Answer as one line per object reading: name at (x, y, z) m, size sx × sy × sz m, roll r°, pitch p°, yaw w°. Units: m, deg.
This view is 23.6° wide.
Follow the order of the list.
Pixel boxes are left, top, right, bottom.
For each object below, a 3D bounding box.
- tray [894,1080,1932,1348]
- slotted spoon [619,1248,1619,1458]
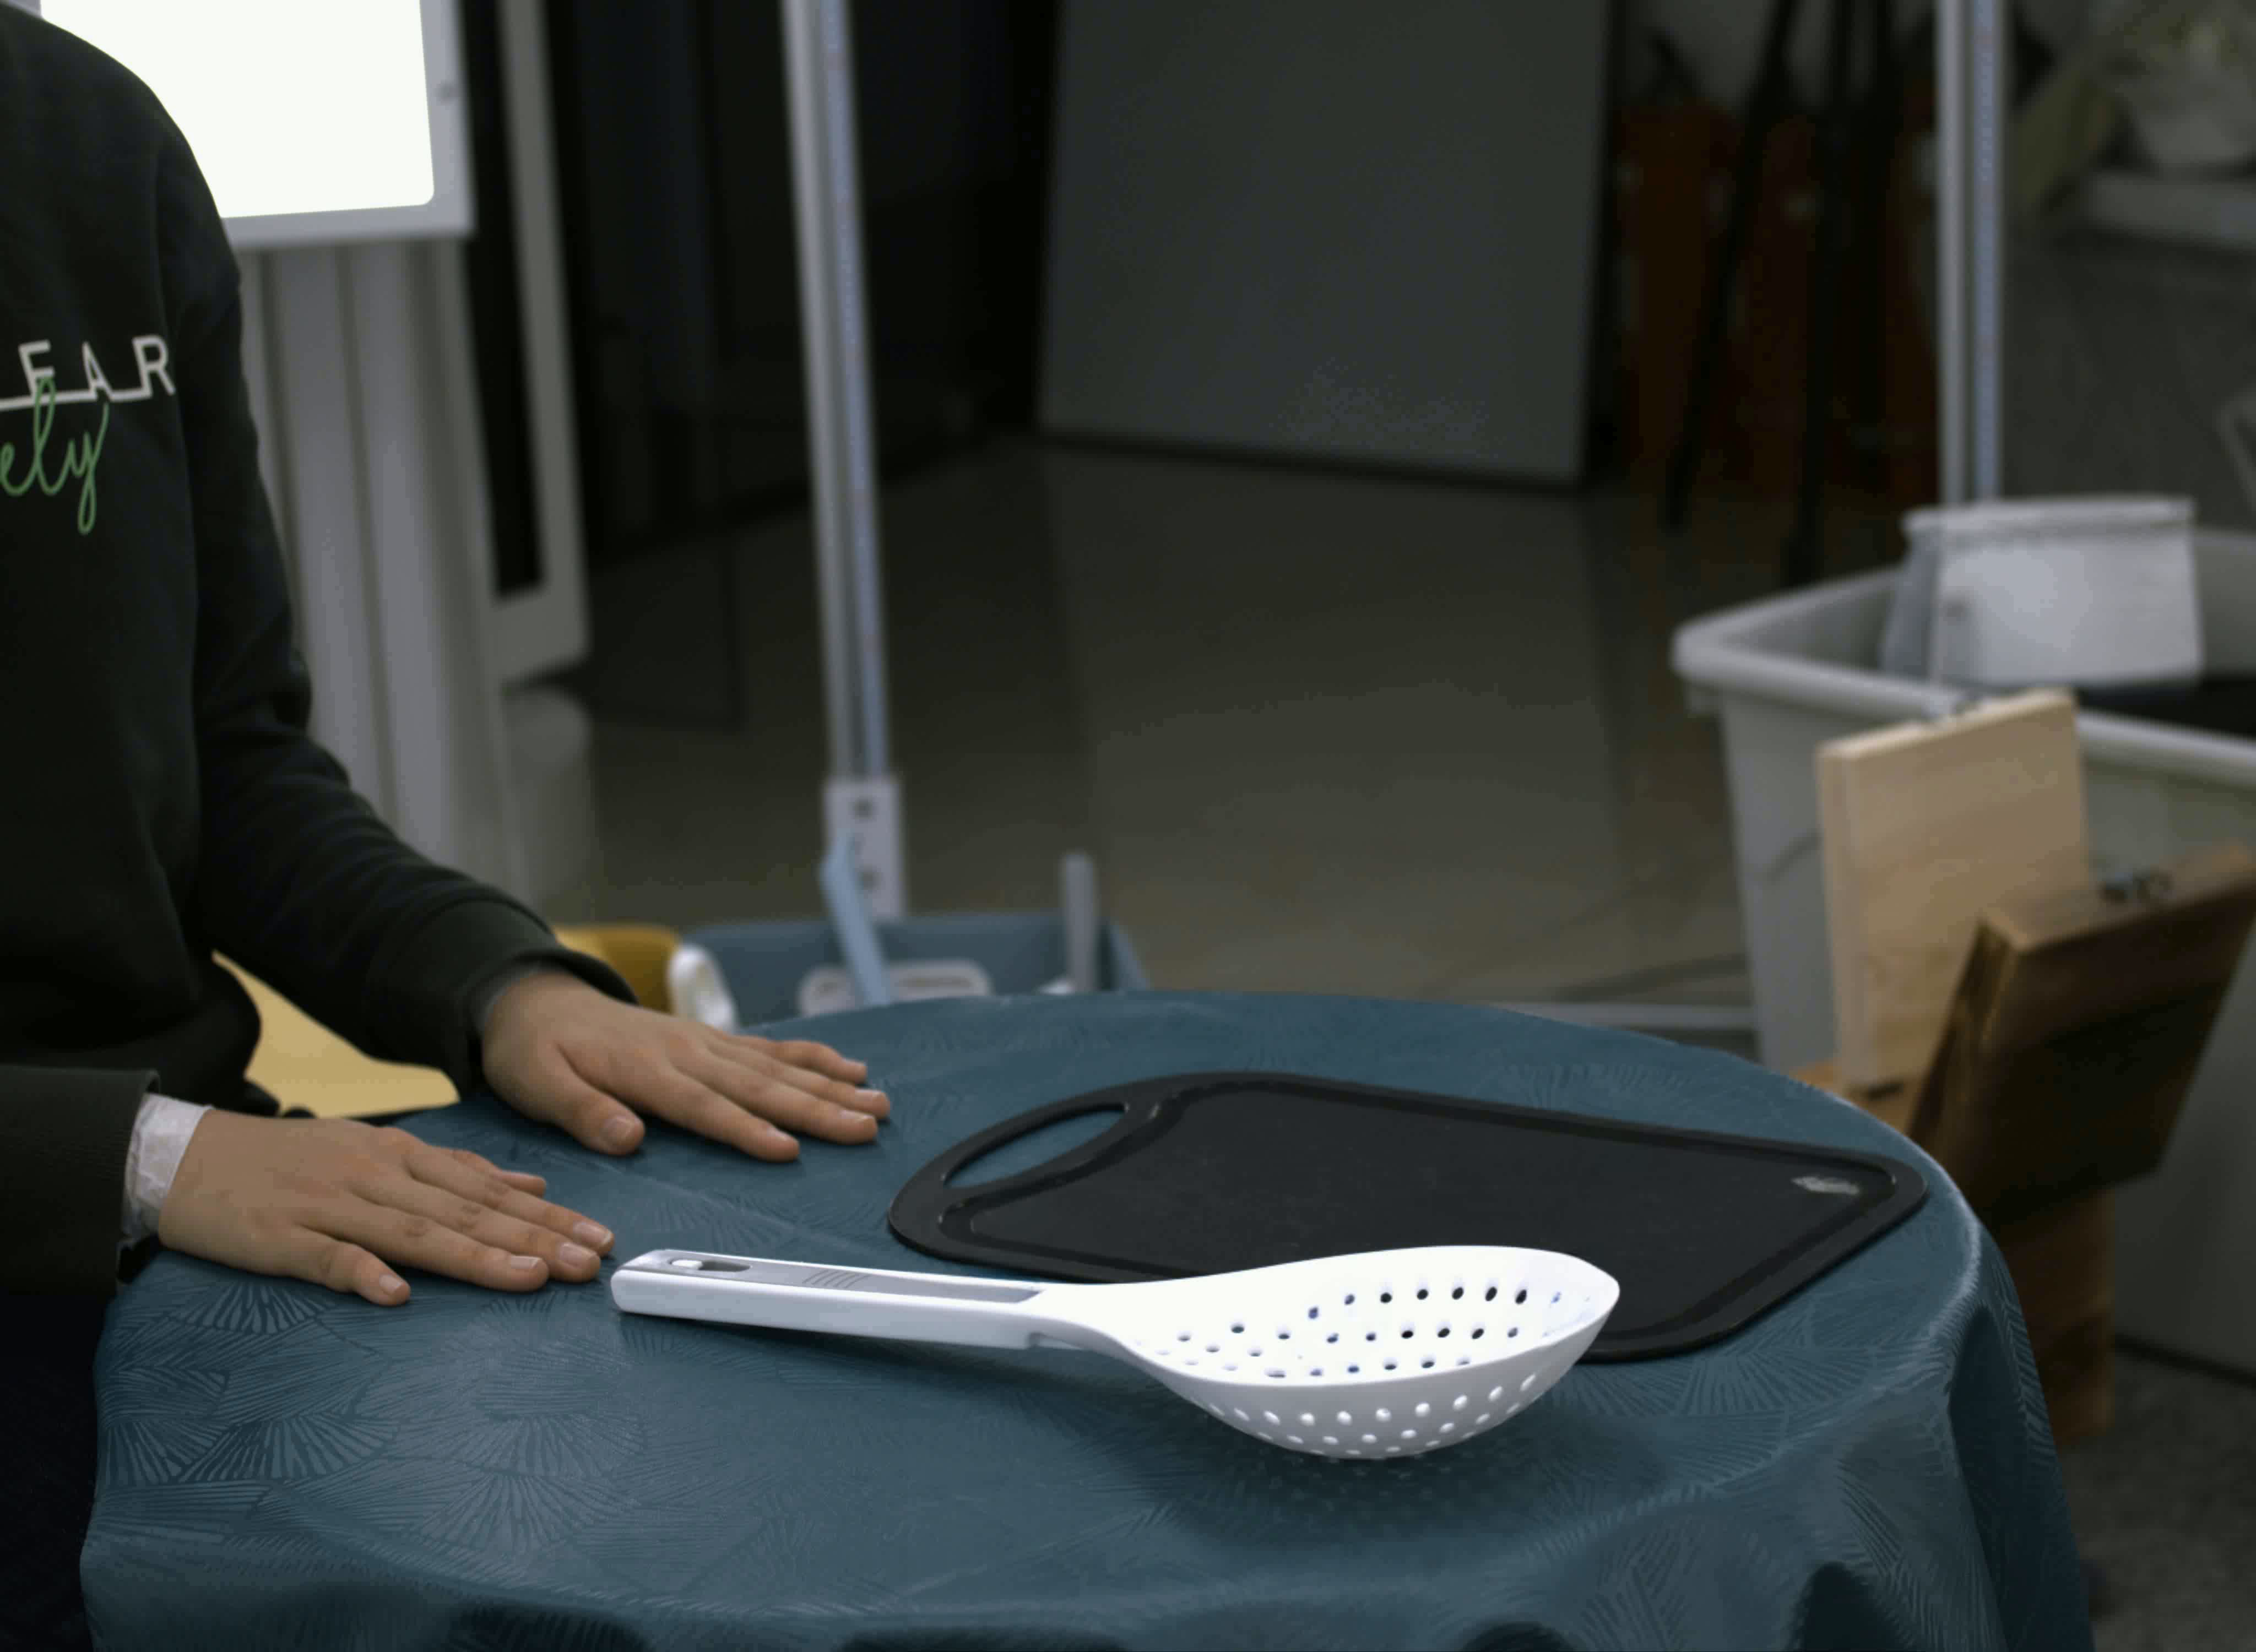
tray at (0.083, 0.120, 1.736) m, size 0.327 × 0.010 × 0.207 m, roll 5°, pitch 16°, yaw 35°
slotted spoon at (-0.013, 0.144, 1.586) m, size 0.352 × 0.046 × 0.133 m, roll 5°, pitch 14°, yaw 36°
